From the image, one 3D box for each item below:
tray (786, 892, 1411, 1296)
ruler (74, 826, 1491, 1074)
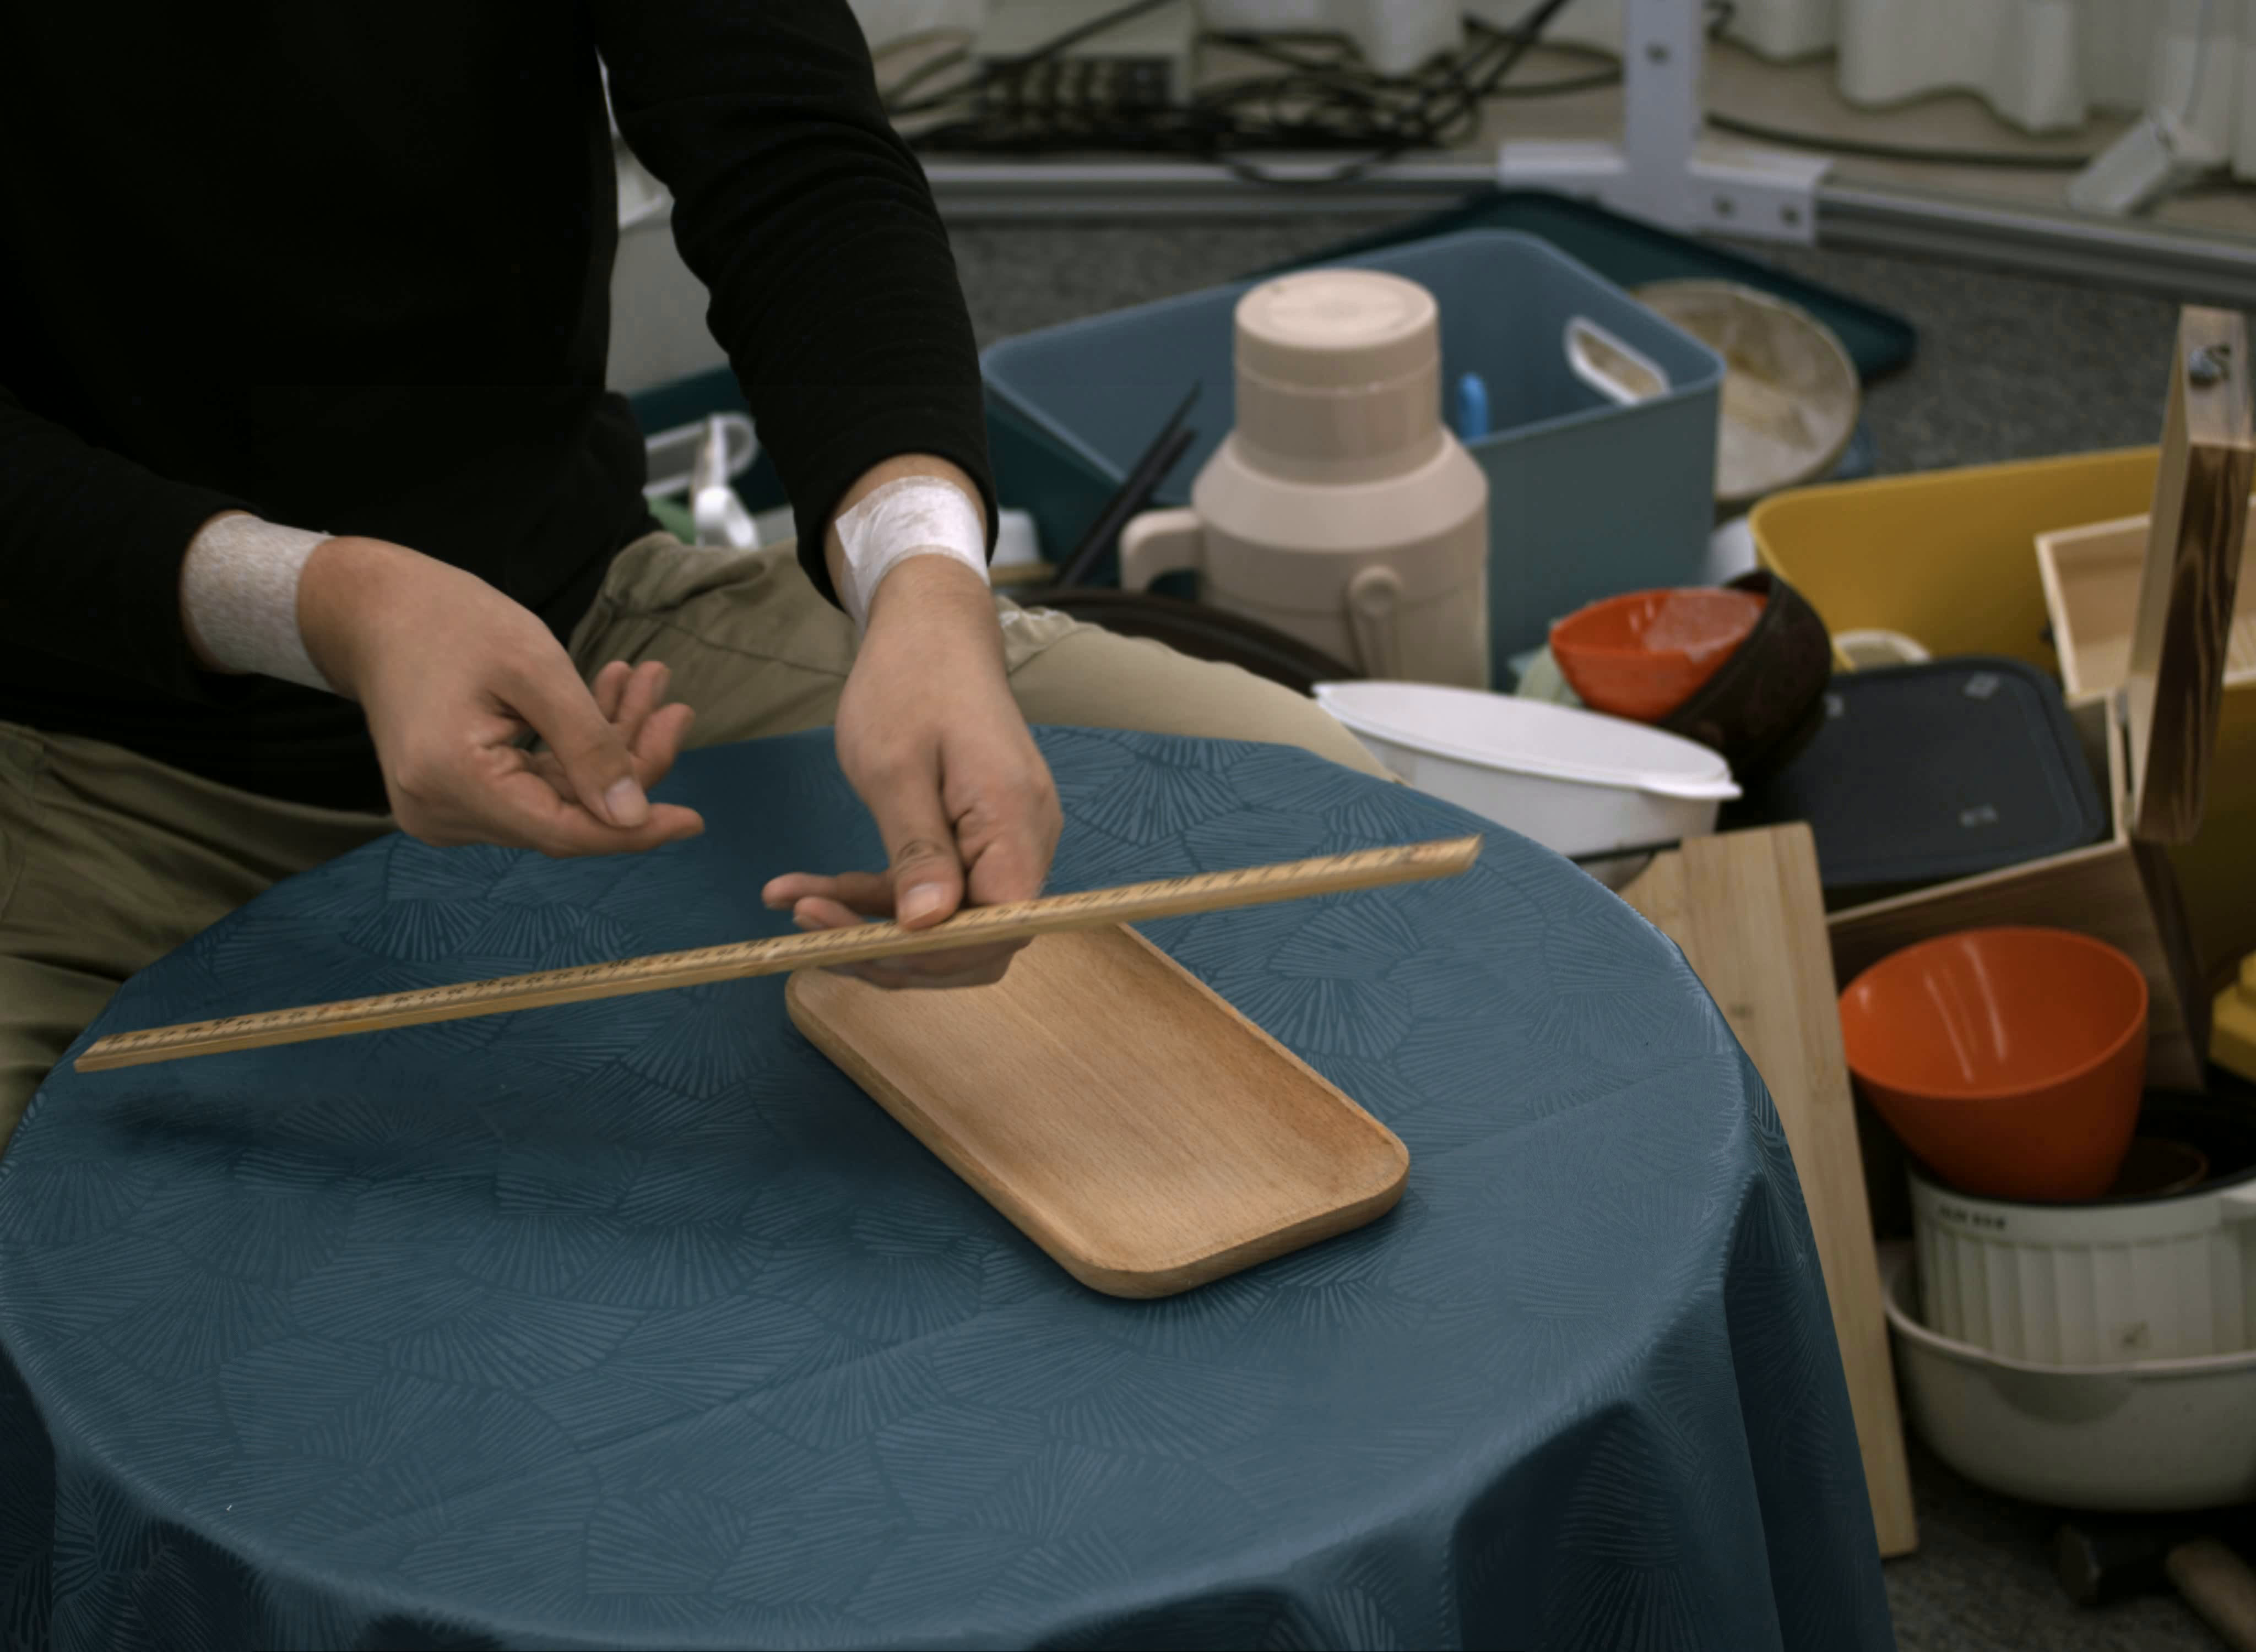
[{"bbox_3d":[-0.013,0.089,1.910,0.131,0.022,0.251,-15,28,-25],"label":"tray"},{"bbox_3d":[-0.121,0.042,1.849,0.496,0.006,0.027,-9,14,17],"label":"ruler"}]
